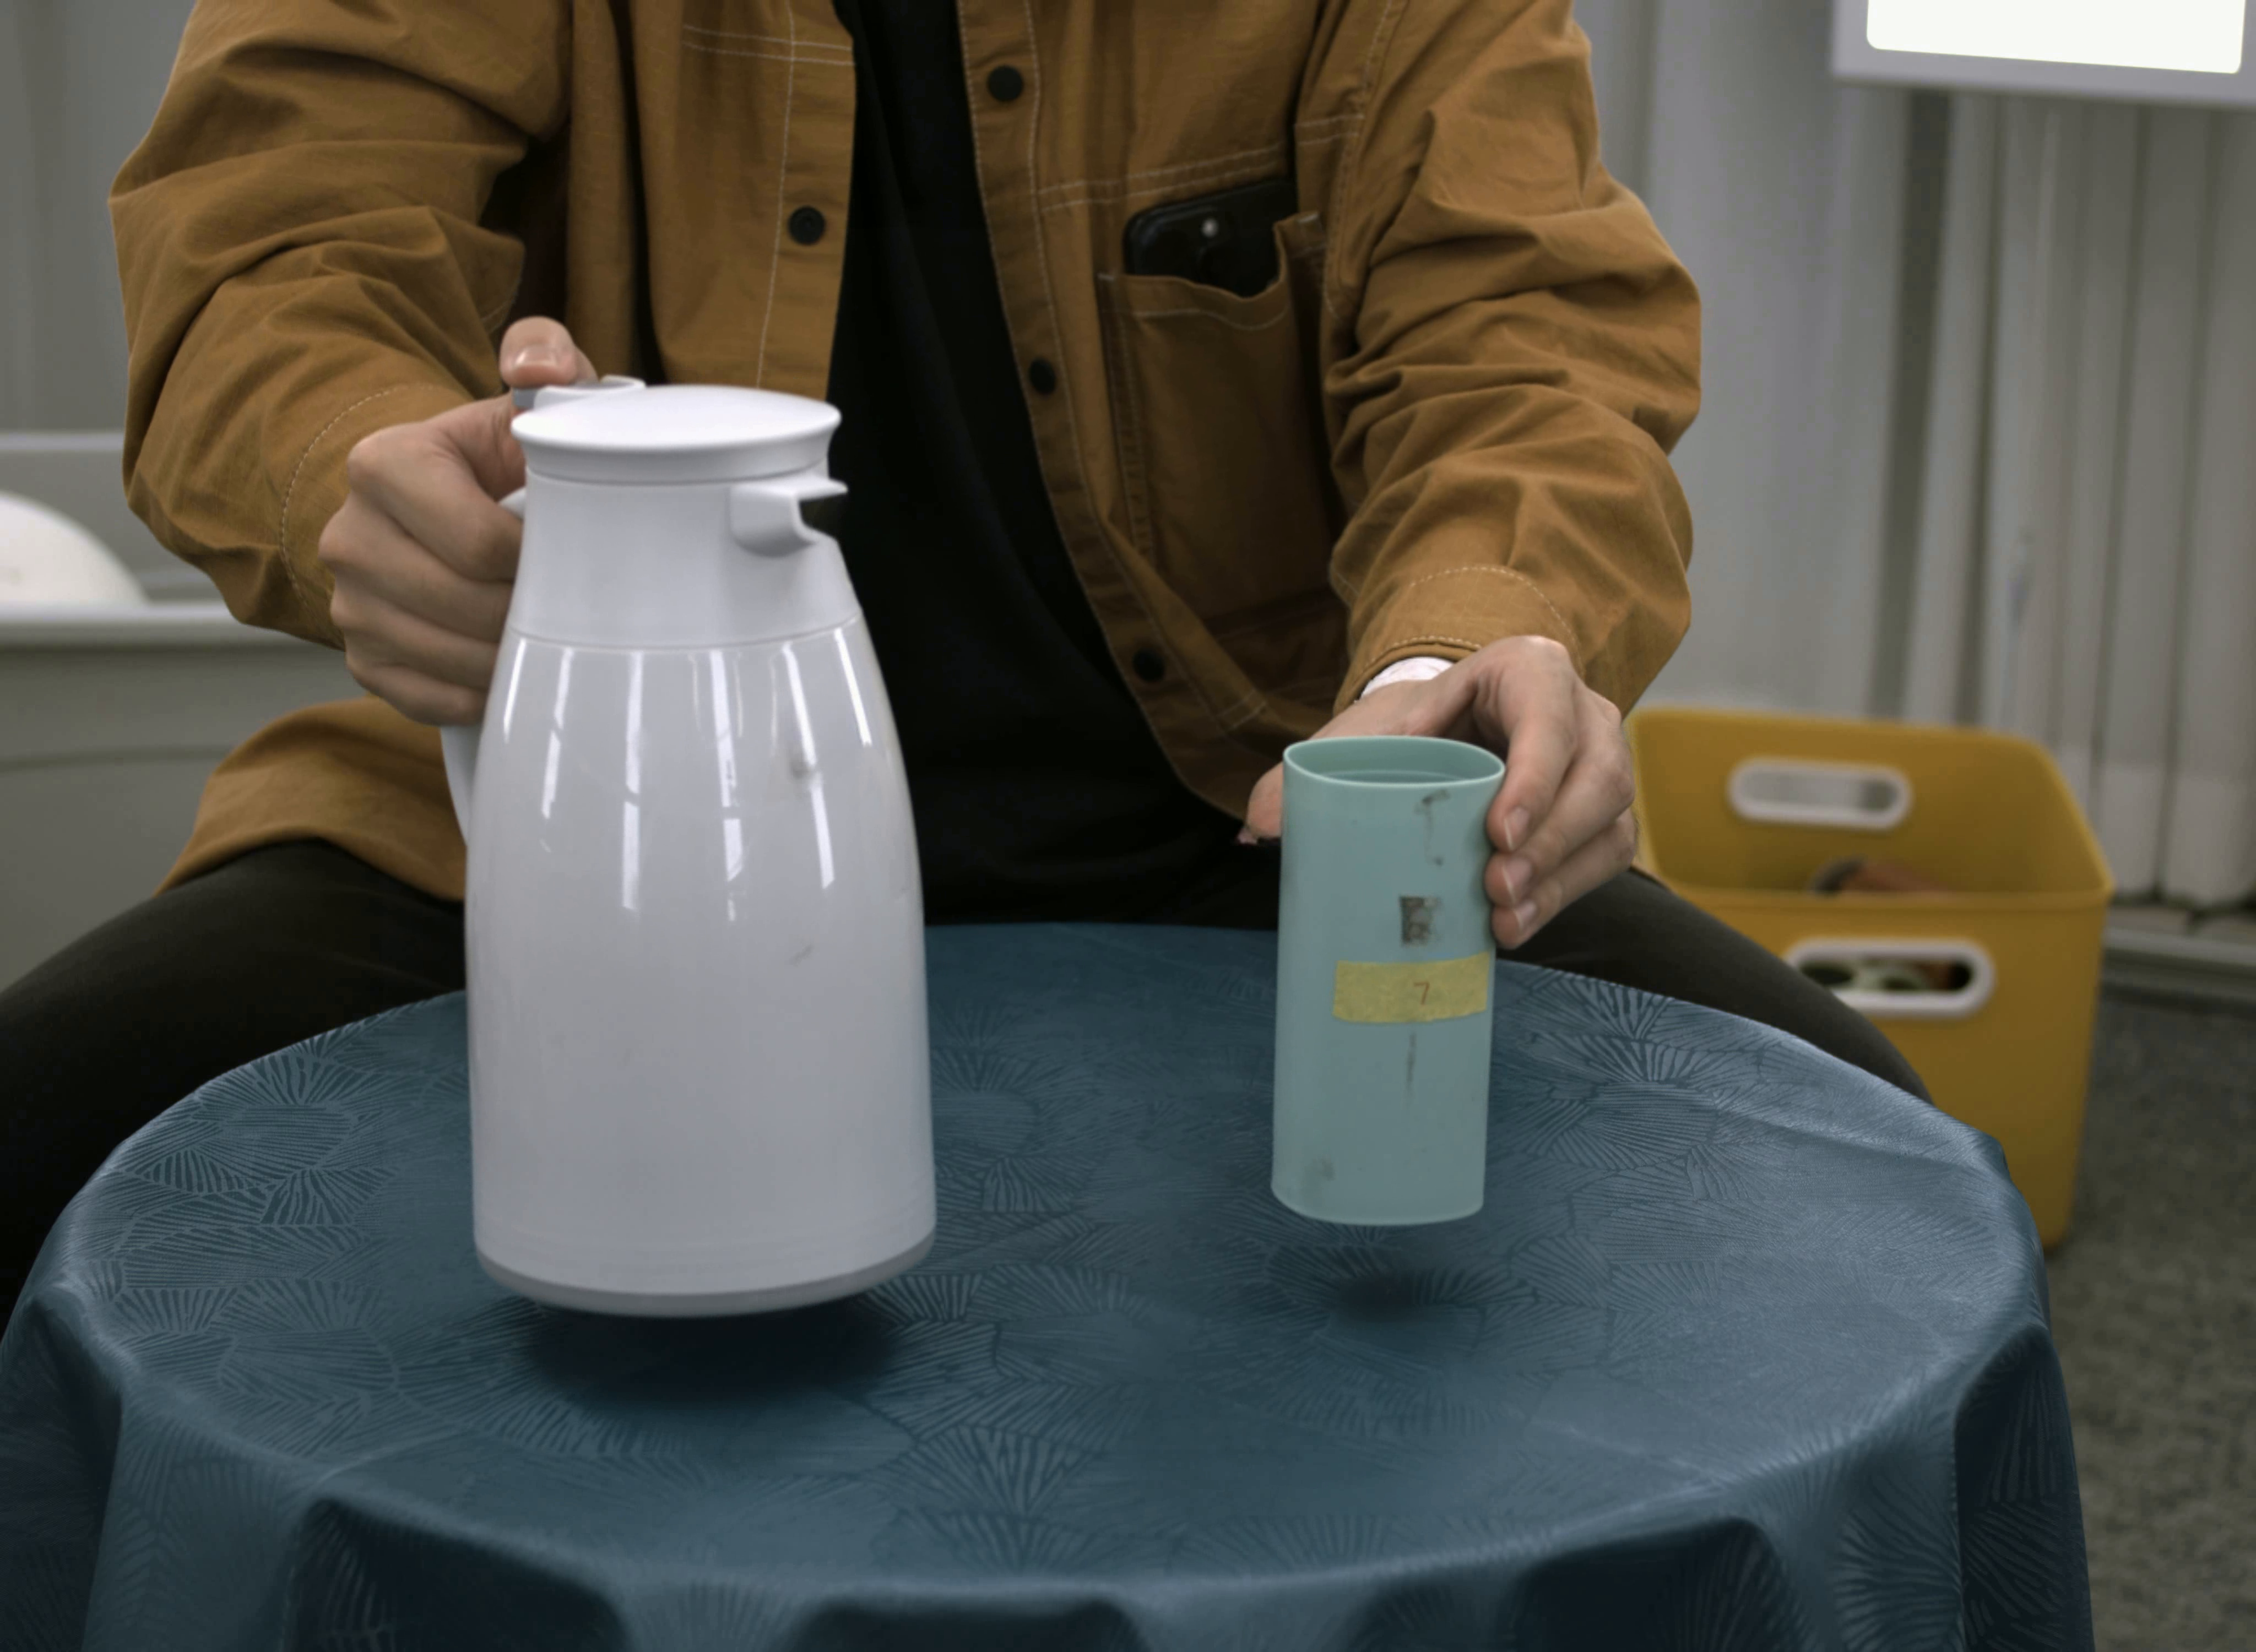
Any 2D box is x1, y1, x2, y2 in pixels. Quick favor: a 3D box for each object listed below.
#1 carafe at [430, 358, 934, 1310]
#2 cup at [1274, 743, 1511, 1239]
[{"bbox_3d":[-0.137,-0.005,1.480,0.165,0.250,0.133,11,18,43],"label":"carafe"},{"bbox_3d":[0.075,0.046,1.514,0.066,0.133,0.066,2,14,0],"label":"cup"}]
